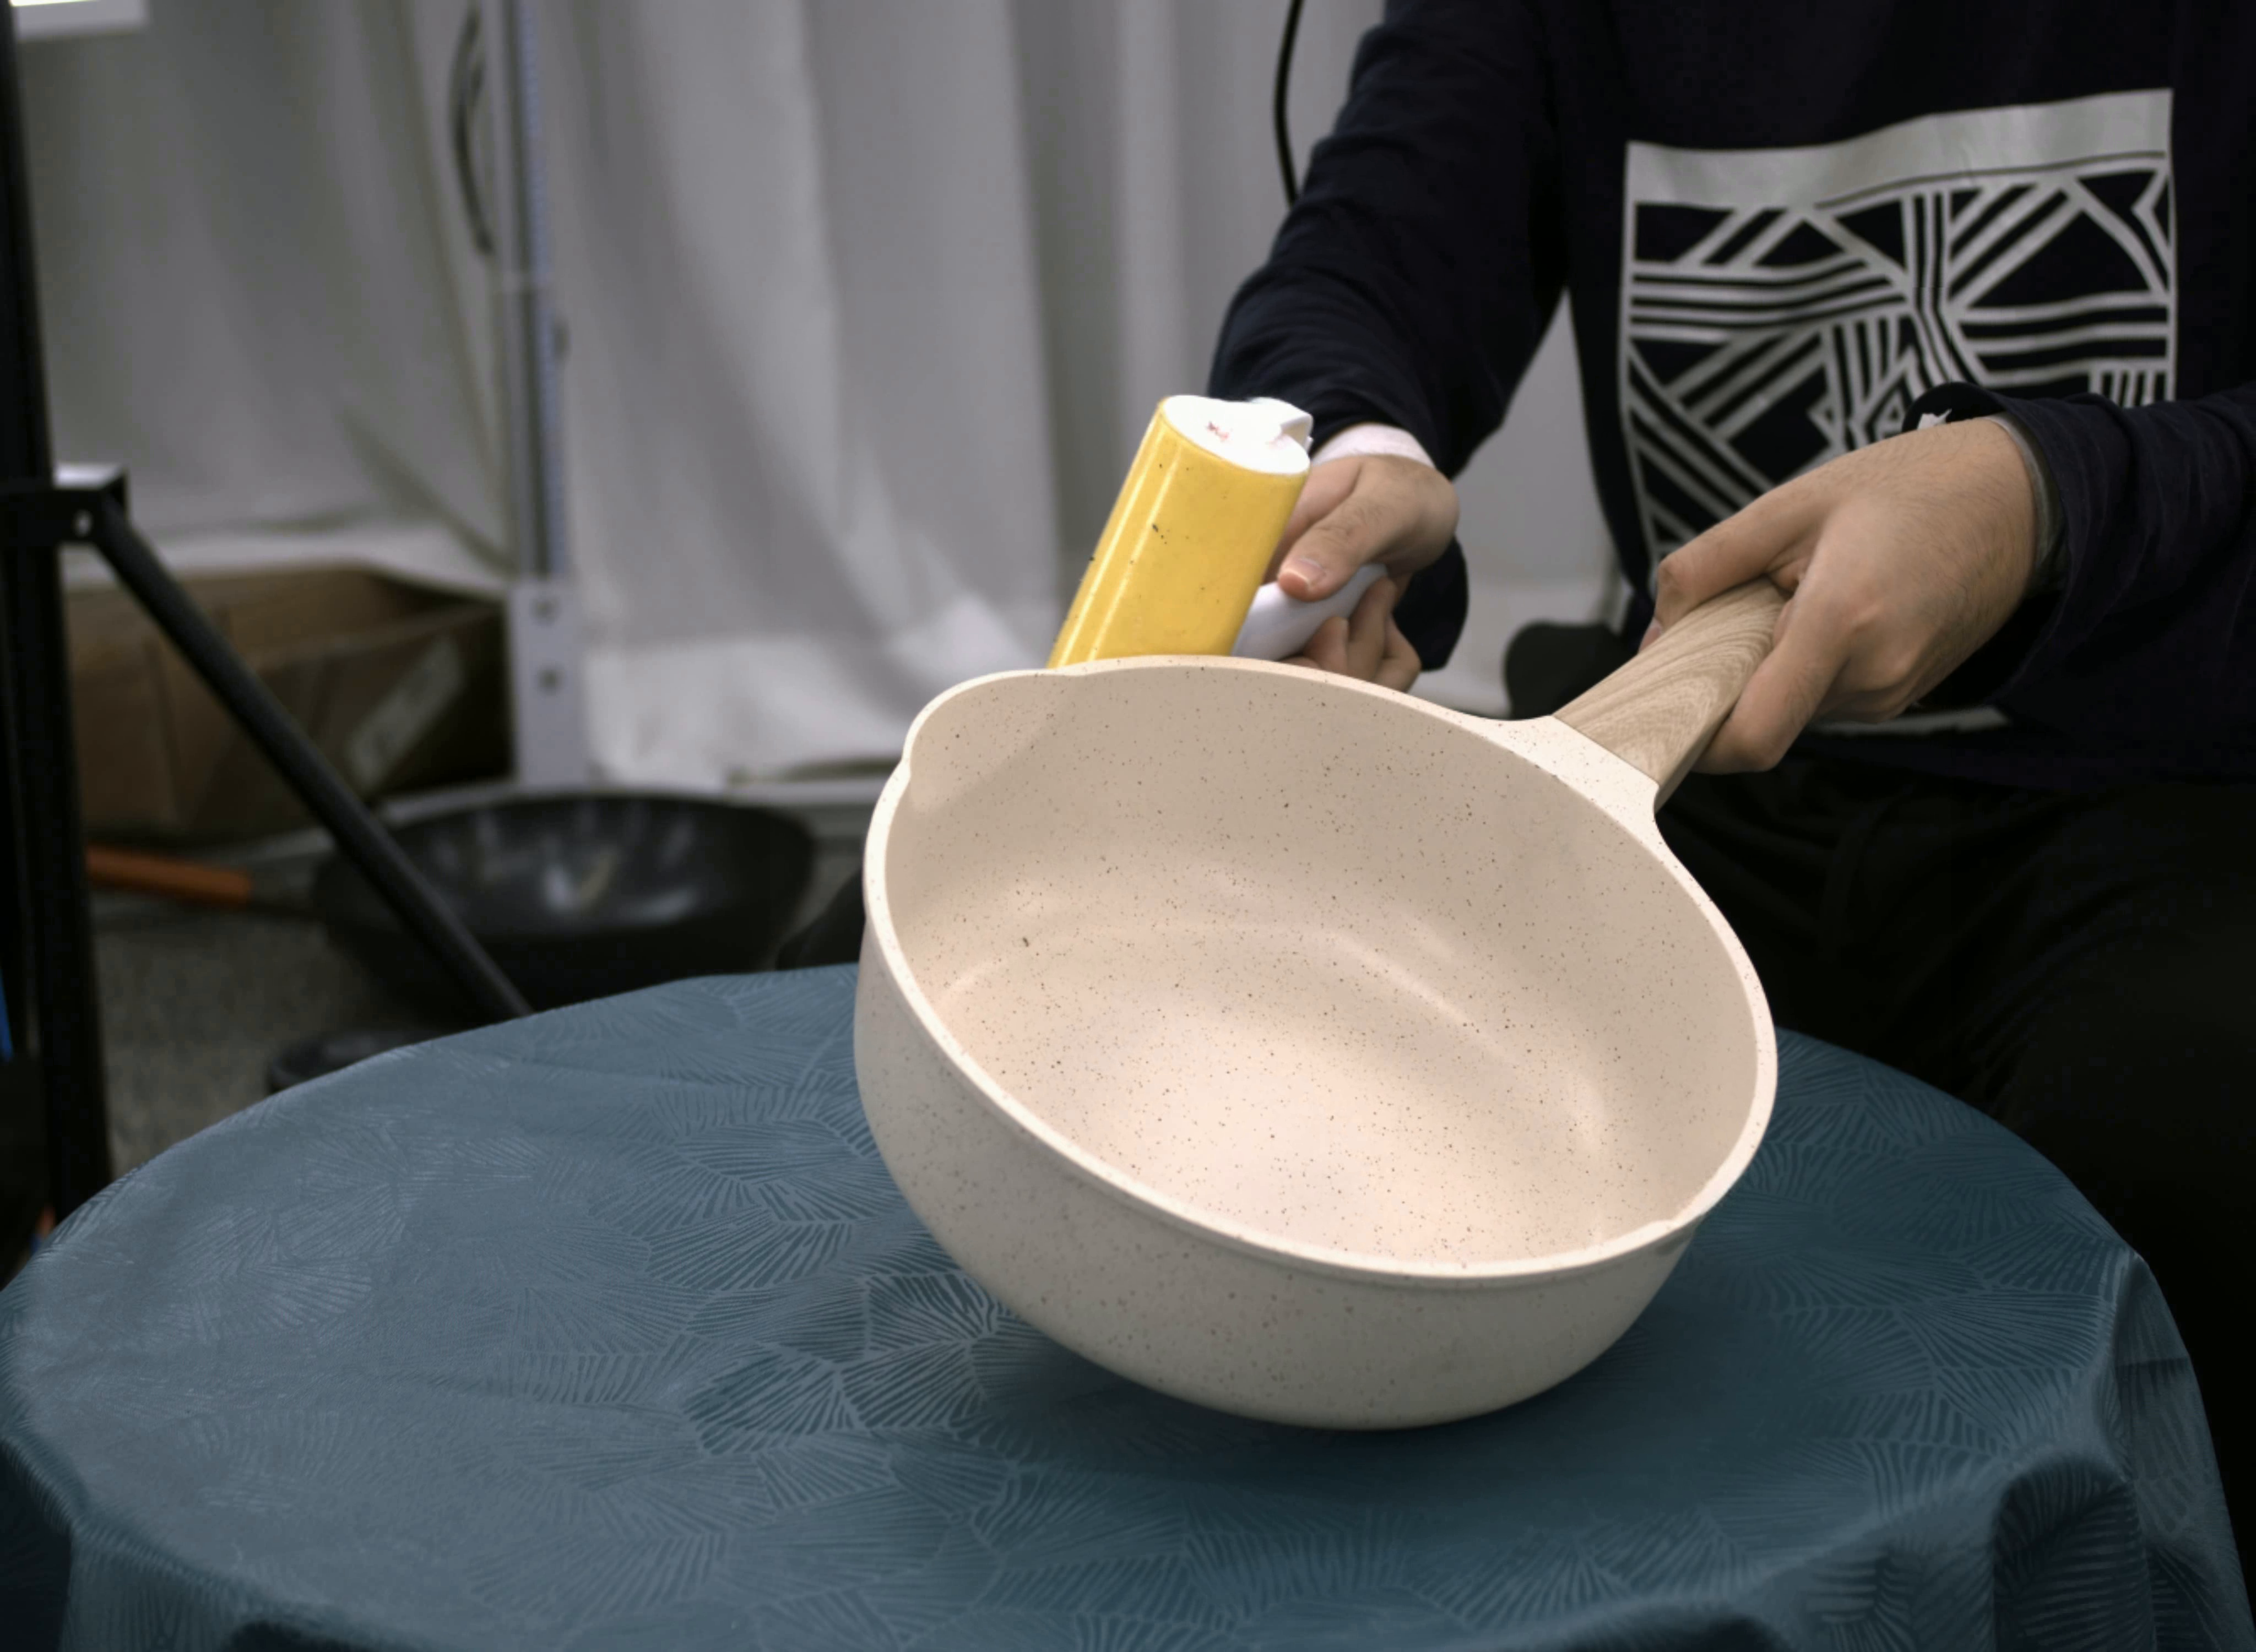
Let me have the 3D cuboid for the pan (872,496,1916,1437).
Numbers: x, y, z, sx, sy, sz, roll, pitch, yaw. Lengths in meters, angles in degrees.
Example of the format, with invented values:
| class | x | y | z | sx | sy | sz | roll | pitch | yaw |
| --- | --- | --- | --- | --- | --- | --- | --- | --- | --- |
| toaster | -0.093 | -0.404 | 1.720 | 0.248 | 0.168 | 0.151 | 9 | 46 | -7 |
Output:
| class | x | y | z | sx | sy | sz | roll | pitch | yaw |
| --- | --- | --- | --- | --- | --- | --- | --- | --- | --- |
| pan | 0.102 | 0.025 | 1.485 | 0.267 | 0.102 | 0.427 | 31 | 38 | 23 |

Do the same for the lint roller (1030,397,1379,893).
| class | x | y | z | sx | sy | sz | roll | pitch | yaw |
| --- | --- | --- | --- | --- | --- | --- | --- | --- | --- |
| lint roller | 0.026 | -0.057 | 1.588 | 0.052 | 0.175 | 0.190 | 29 | 22 | 10 |
